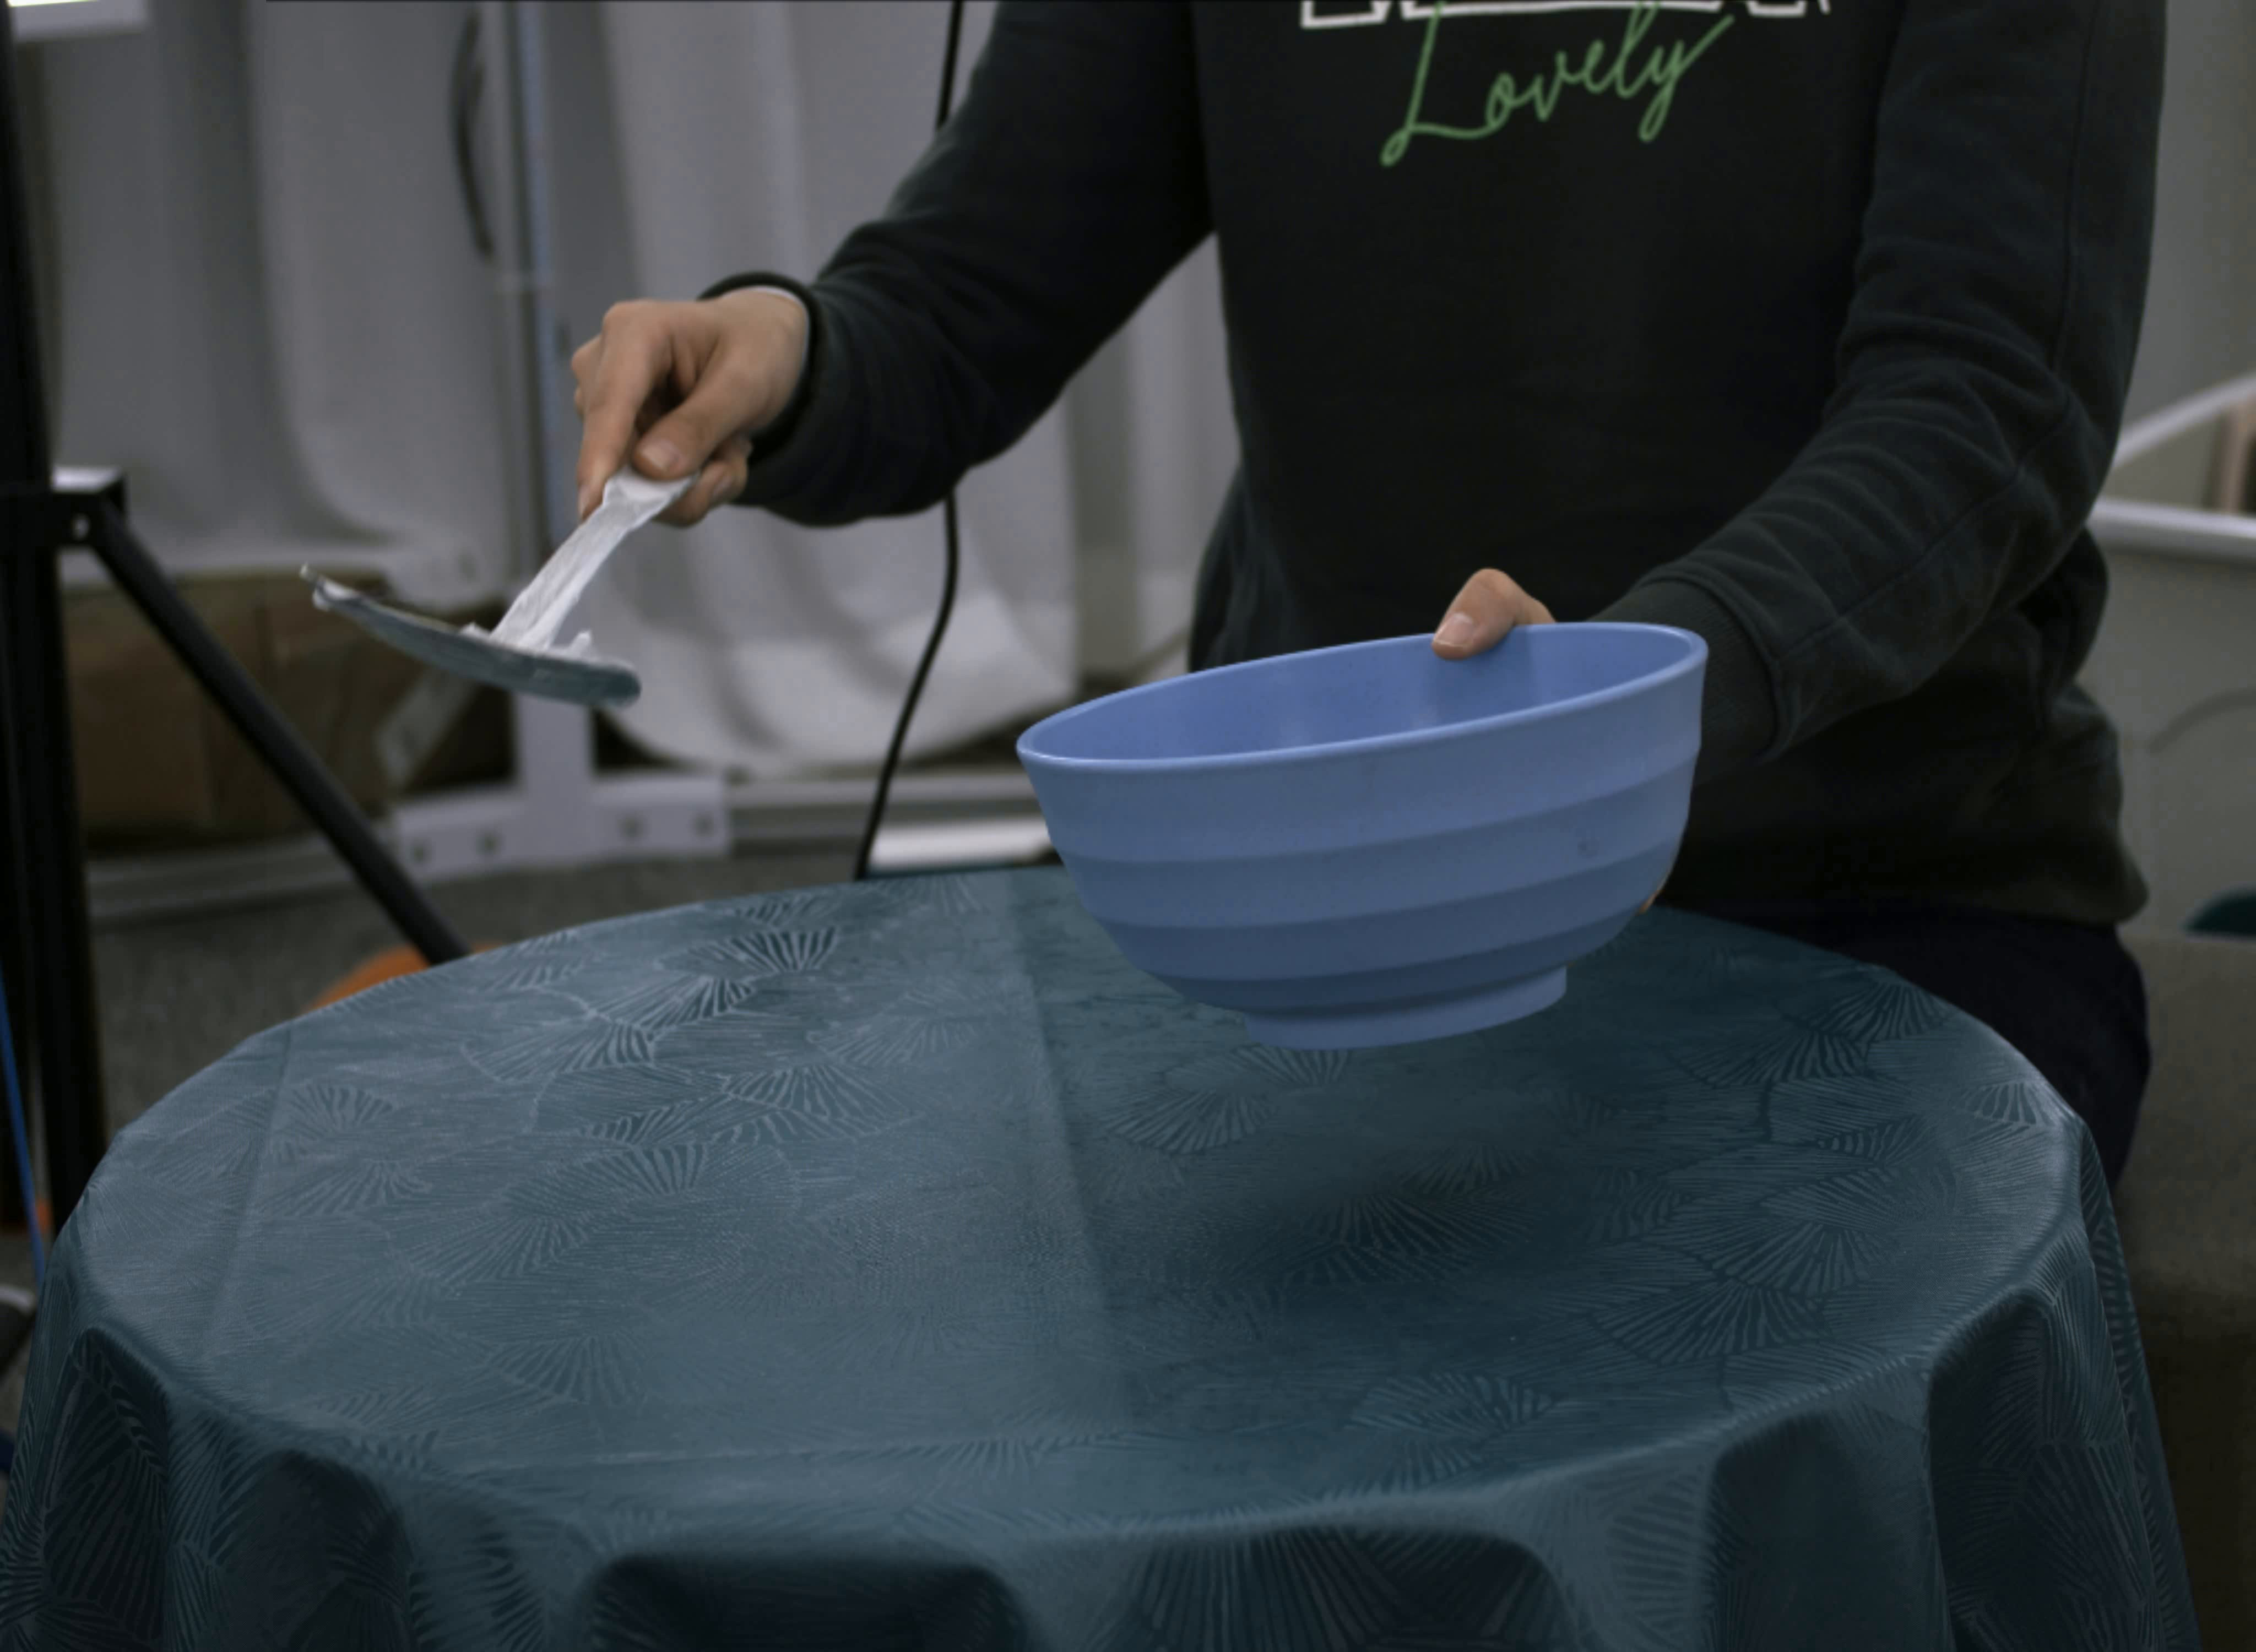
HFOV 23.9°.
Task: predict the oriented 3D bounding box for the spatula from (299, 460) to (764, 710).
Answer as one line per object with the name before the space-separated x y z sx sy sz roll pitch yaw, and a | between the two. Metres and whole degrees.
spatula | -0.159 -0.085 1.626 0.099 0.045 0.363 14 18 6

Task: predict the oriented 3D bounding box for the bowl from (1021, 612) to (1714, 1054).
bowl | 0.073 0.007 1.493 0.195 0.095 0.197 -10 10 0
